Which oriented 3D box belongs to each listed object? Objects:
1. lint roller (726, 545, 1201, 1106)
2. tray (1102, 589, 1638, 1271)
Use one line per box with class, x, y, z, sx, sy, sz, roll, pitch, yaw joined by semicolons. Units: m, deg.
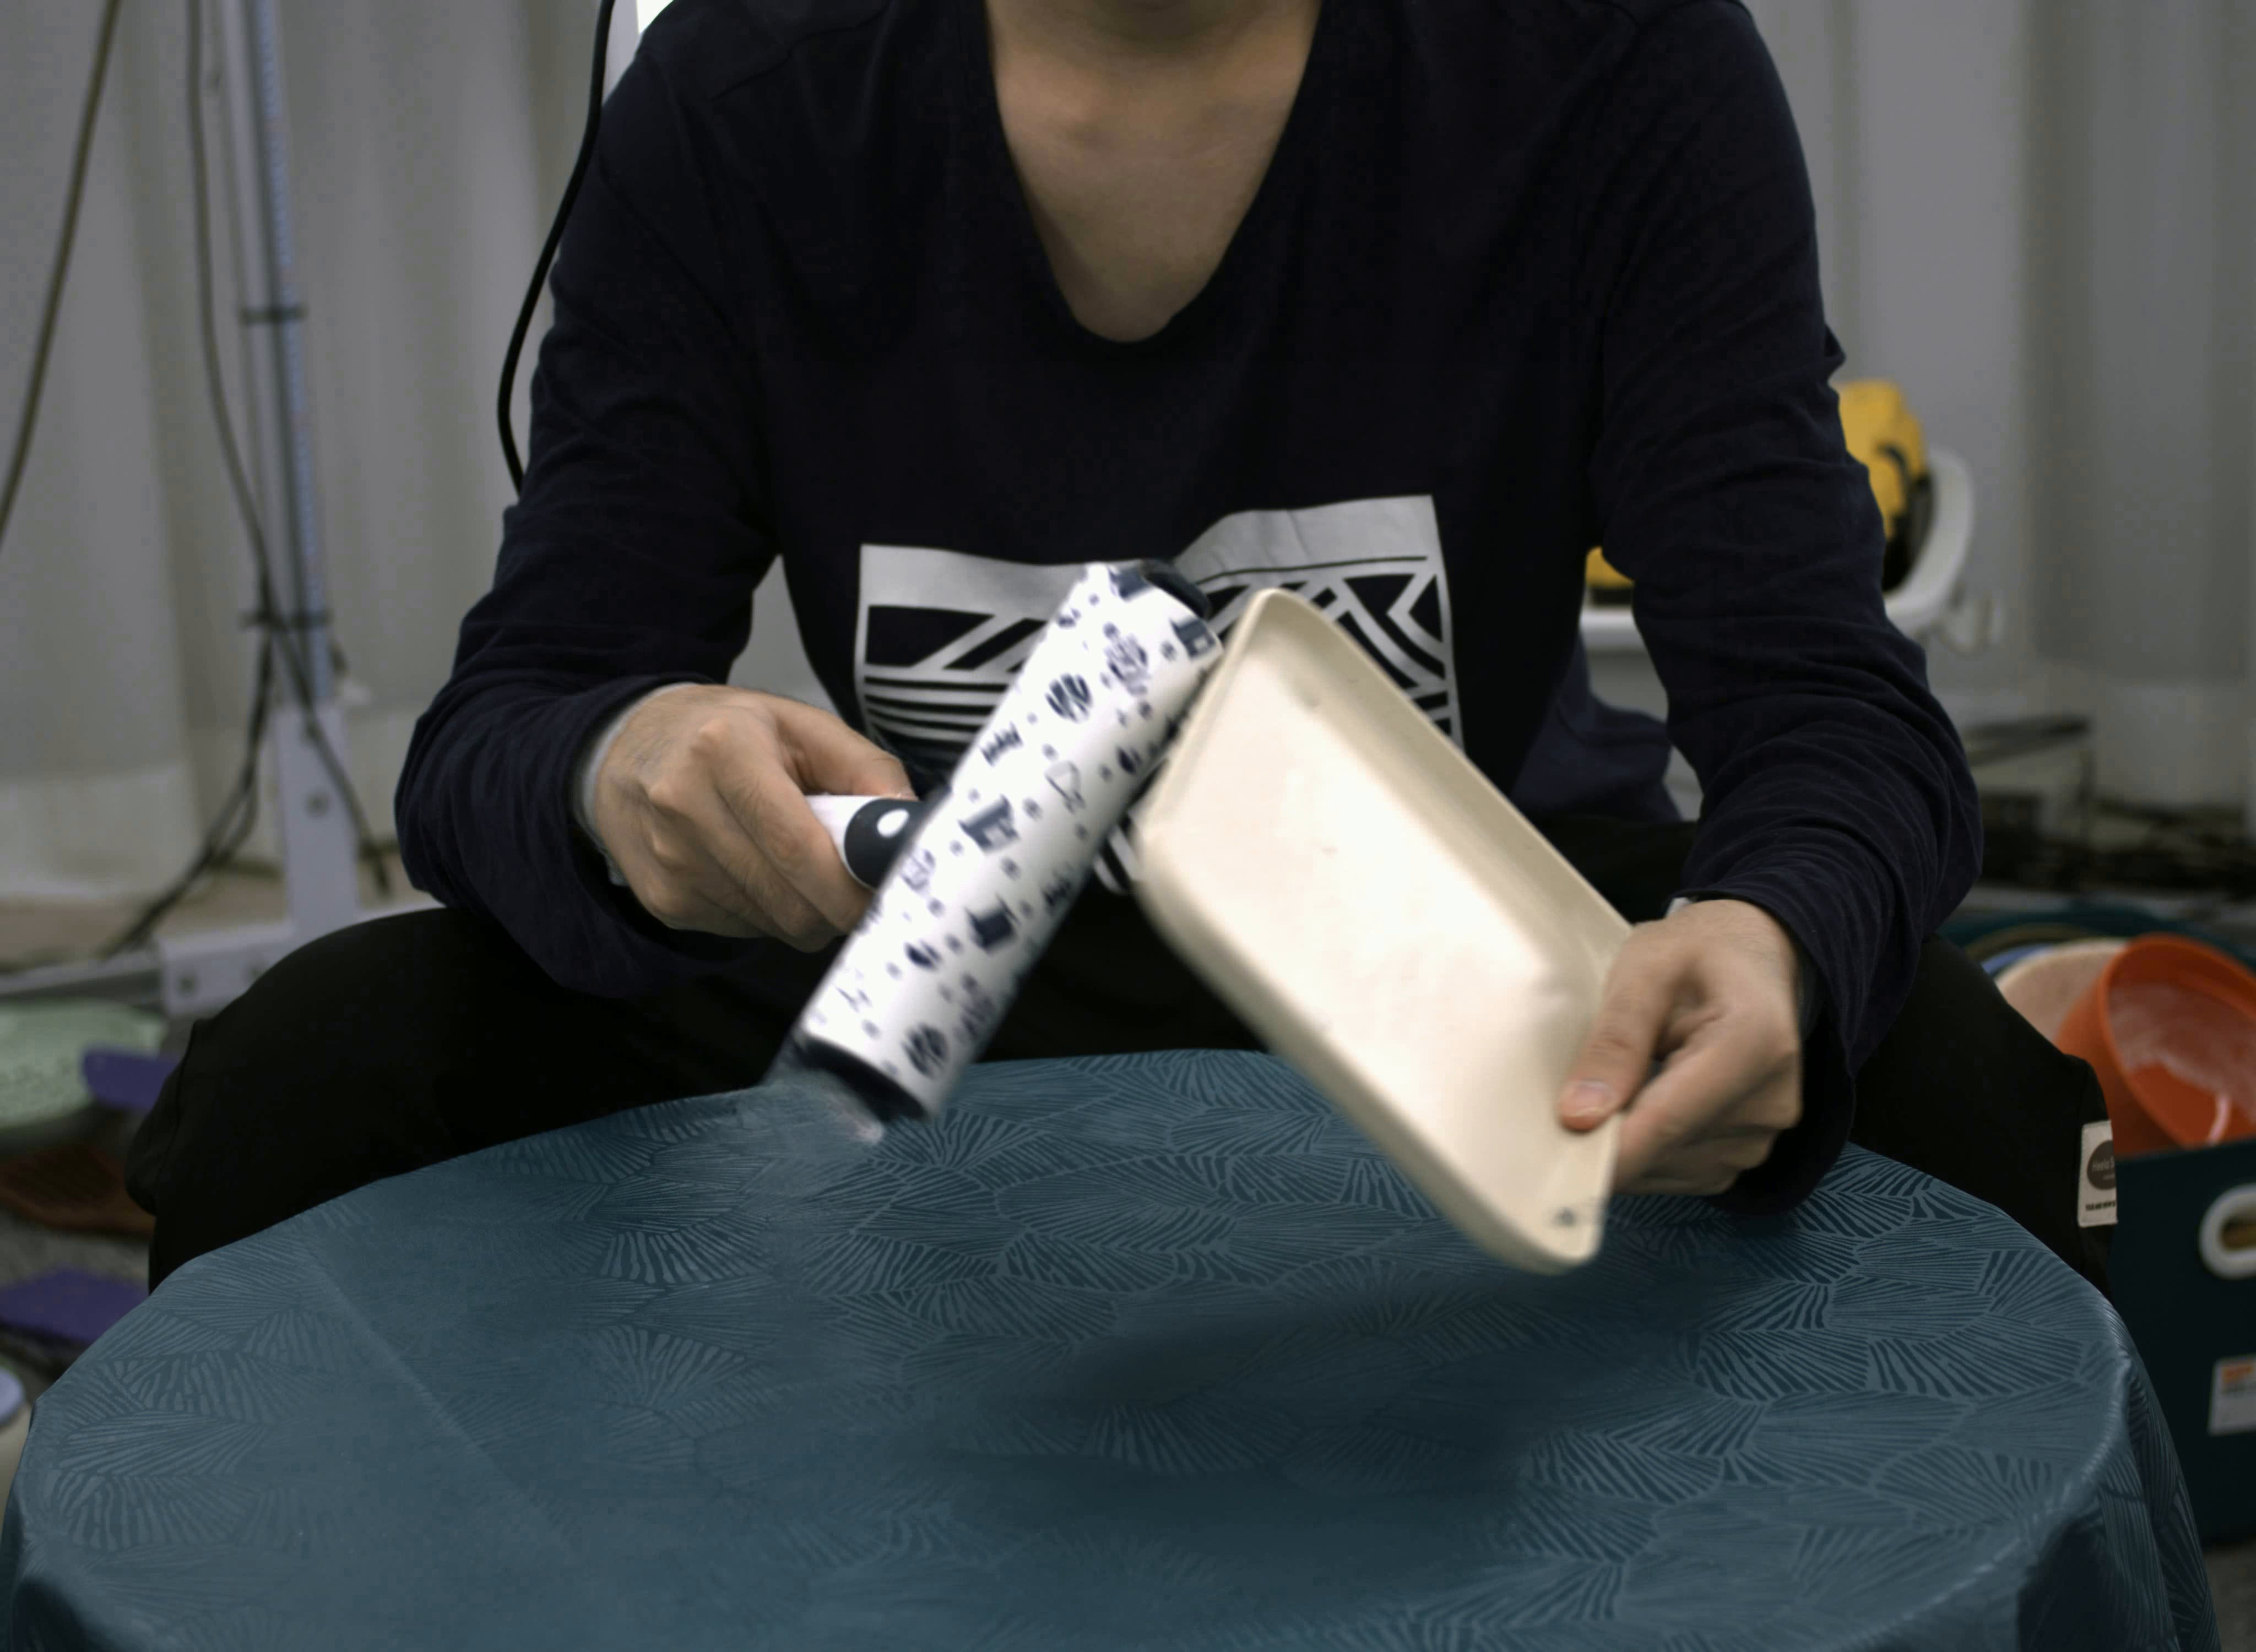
lint roller;-0.078;0.004;1.622;0.050;0.177;0.247;37;-17;-18
tray;0.070;0.027;1.535;0.017;0.171;0.241;-43;6;23
